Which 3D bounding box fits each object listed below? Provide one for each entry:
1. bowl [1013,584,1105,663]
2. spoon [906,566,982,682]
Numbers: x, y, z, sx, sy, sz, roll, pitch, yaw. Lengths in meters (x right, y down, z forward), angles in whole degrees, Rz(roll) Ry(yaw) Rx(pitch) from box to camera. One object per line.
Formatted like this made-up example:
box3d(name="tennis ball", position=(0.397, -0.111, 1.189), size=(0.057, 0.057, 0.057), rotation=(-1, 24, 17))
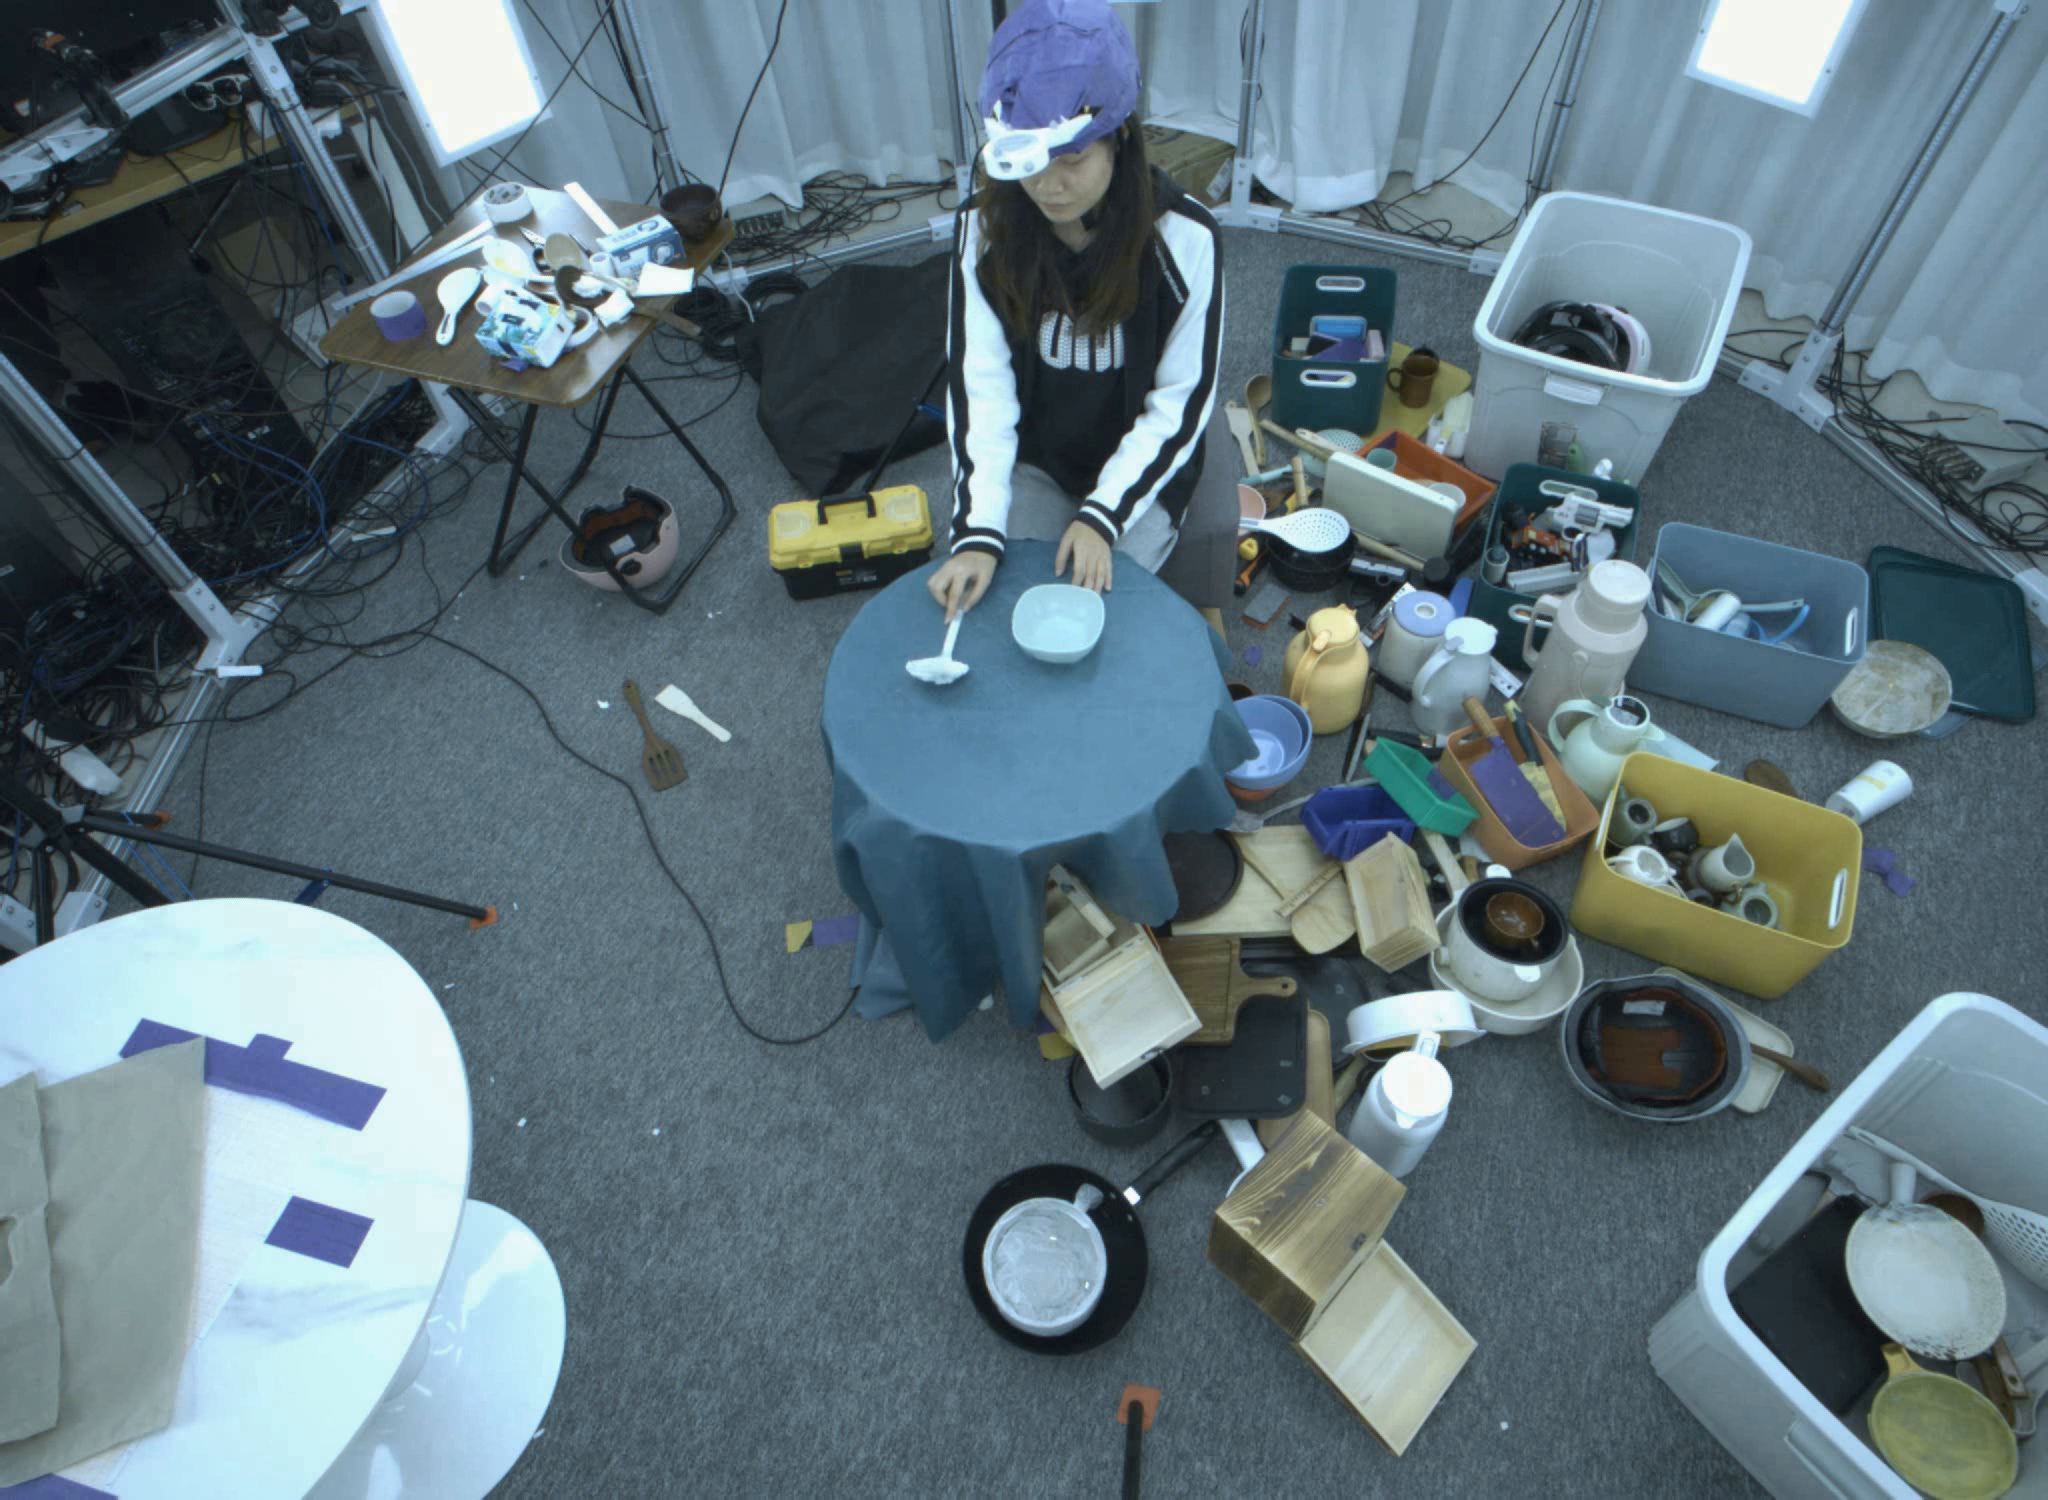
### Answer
box3d(name="bowl", position=(0.053, -0.185, 1.885), size=(0.151, 0.059, 0.150), rotation=(0, 55, 2))
box3d(name="spoon", position=(-0.103, -0.202, 1.899), size=(0.100, 0.060, 0.276), rotation=(14, 56, 5))
